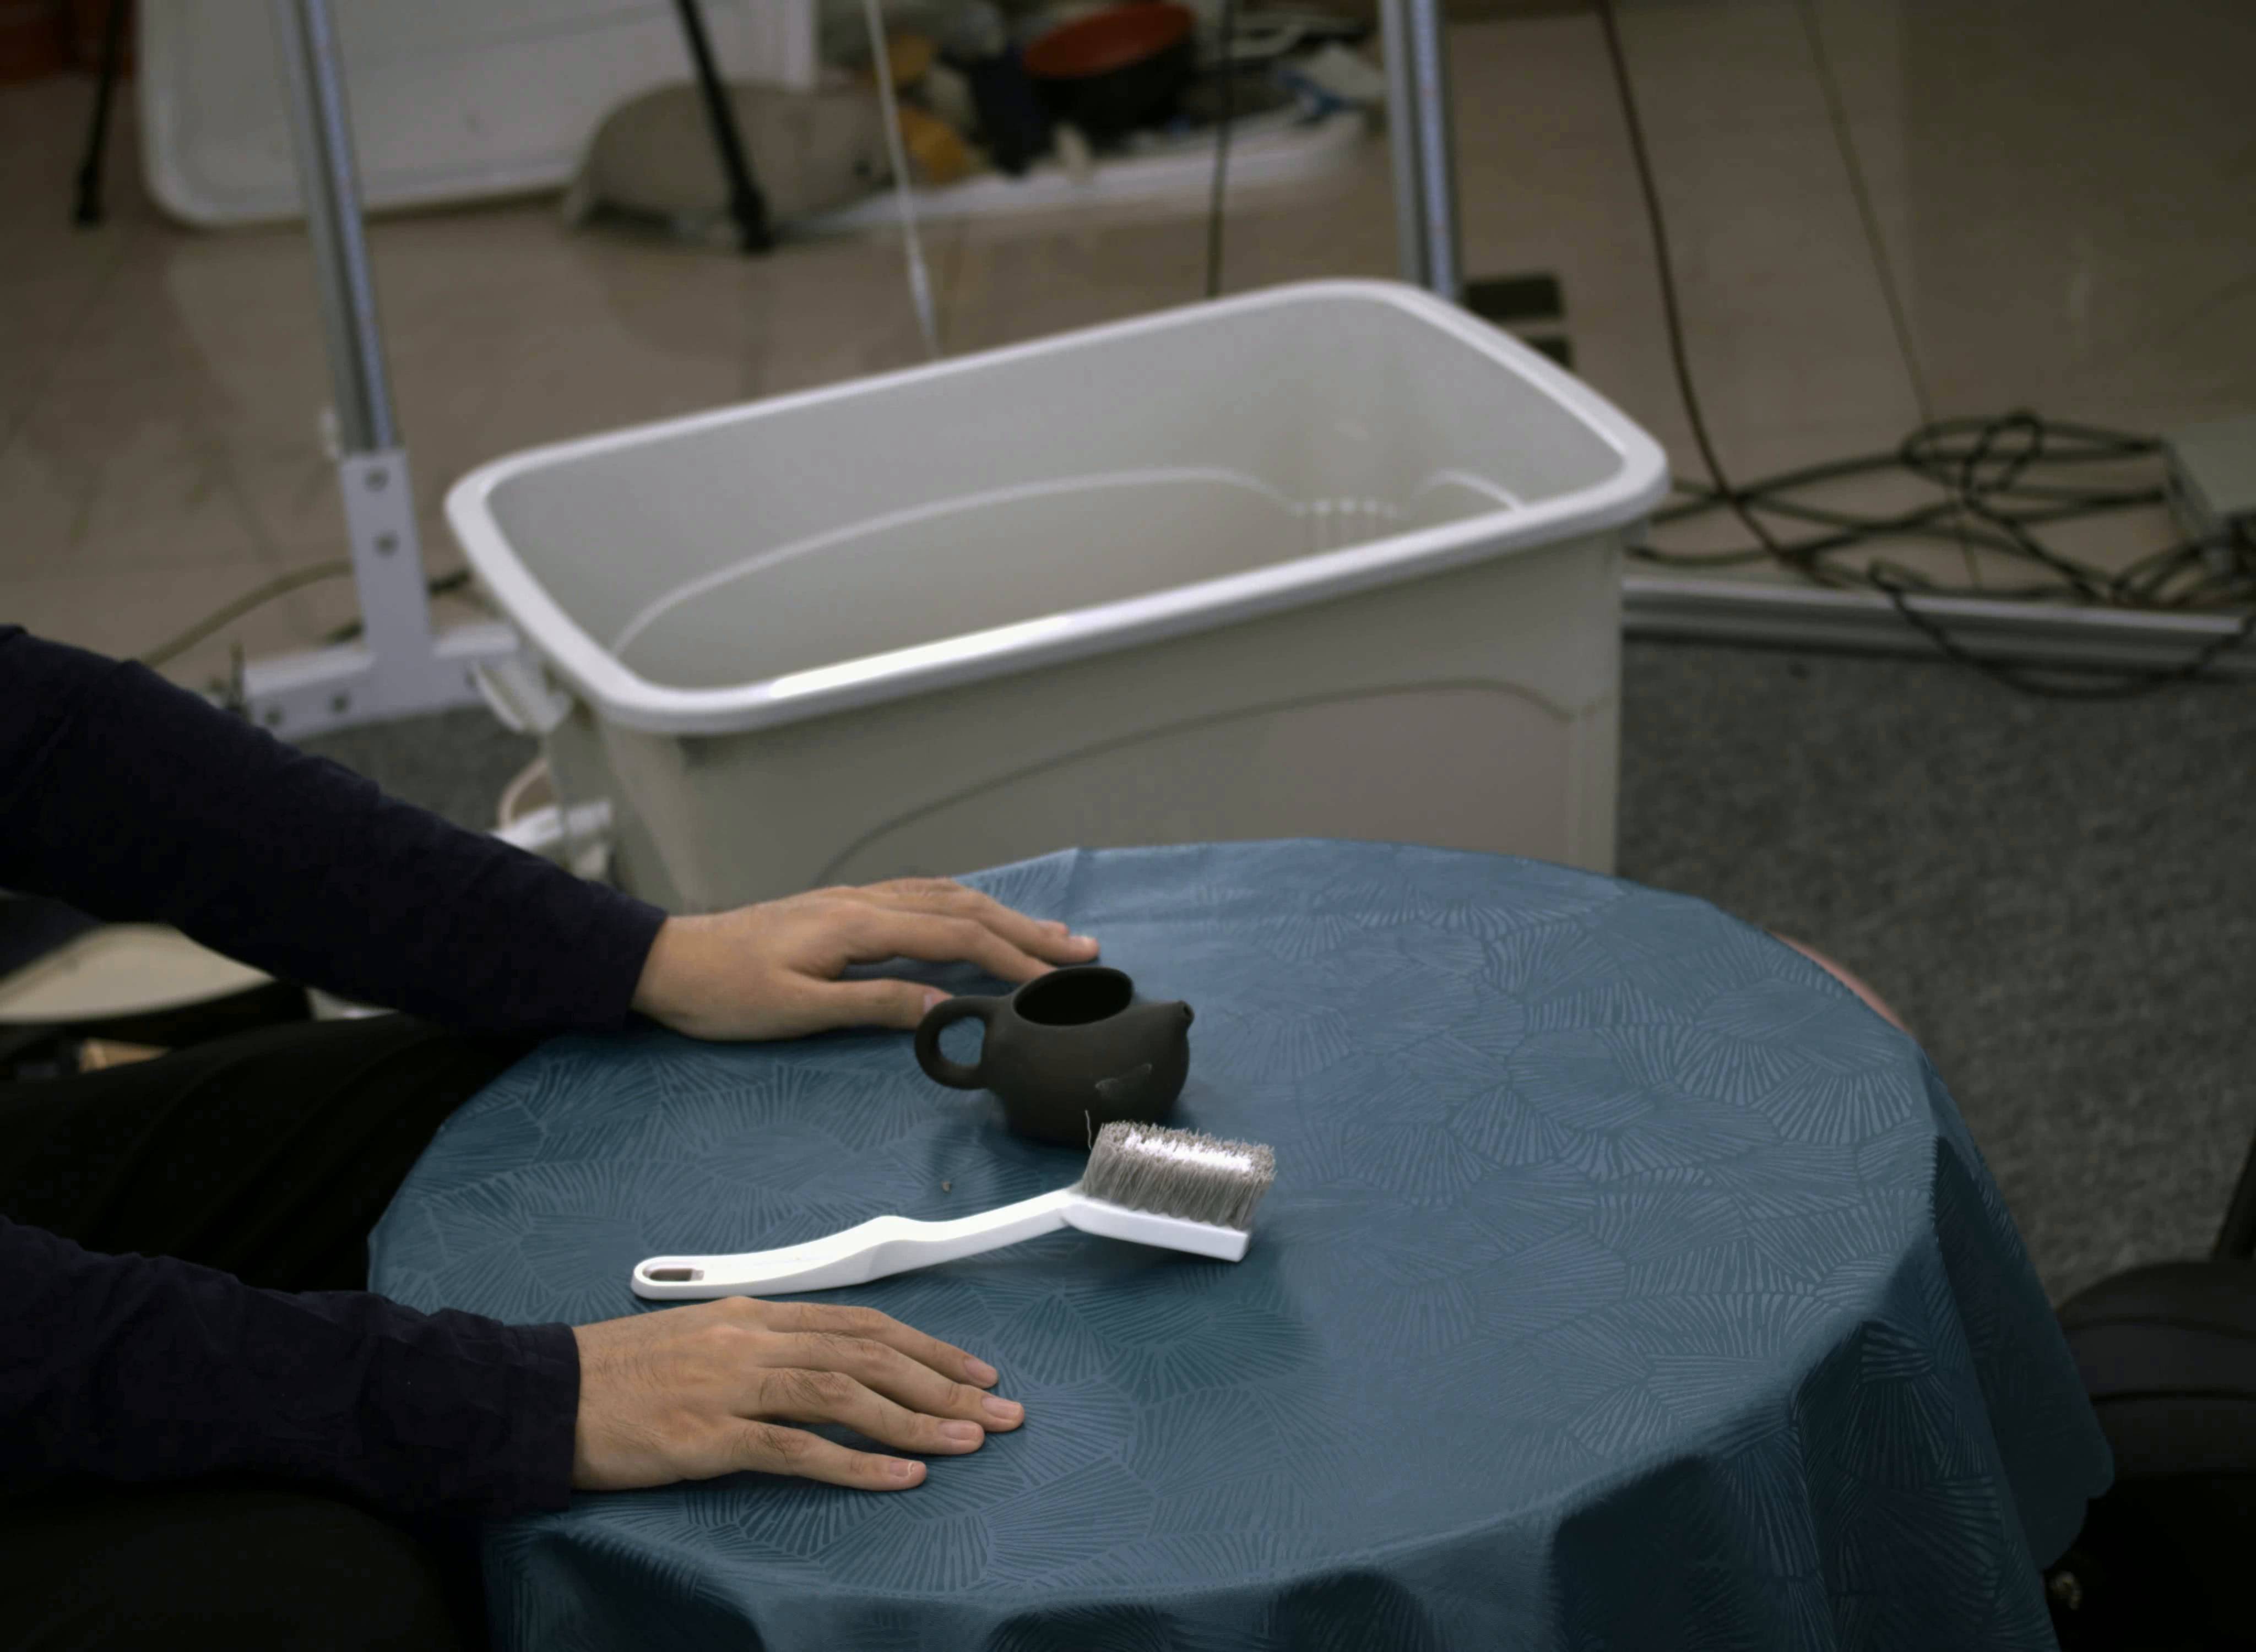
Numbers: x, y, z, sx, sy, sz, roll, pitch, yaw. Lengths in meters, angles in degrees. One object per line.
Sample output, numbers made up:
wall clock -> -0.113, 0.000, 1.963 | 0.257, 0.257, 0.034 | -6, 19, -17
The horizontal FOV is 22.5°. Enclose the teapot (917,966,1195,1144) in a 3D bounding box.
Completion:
teapot -> -0.028, 0.088, 2.204 | 0.114, 0.054, 0.082 | 2, 27, 17

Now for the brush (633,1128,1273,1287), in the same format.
brush -> -0.066, 0.142, 2.101 | 0.243, 0.051, 0.034 | -3, 30, 7
